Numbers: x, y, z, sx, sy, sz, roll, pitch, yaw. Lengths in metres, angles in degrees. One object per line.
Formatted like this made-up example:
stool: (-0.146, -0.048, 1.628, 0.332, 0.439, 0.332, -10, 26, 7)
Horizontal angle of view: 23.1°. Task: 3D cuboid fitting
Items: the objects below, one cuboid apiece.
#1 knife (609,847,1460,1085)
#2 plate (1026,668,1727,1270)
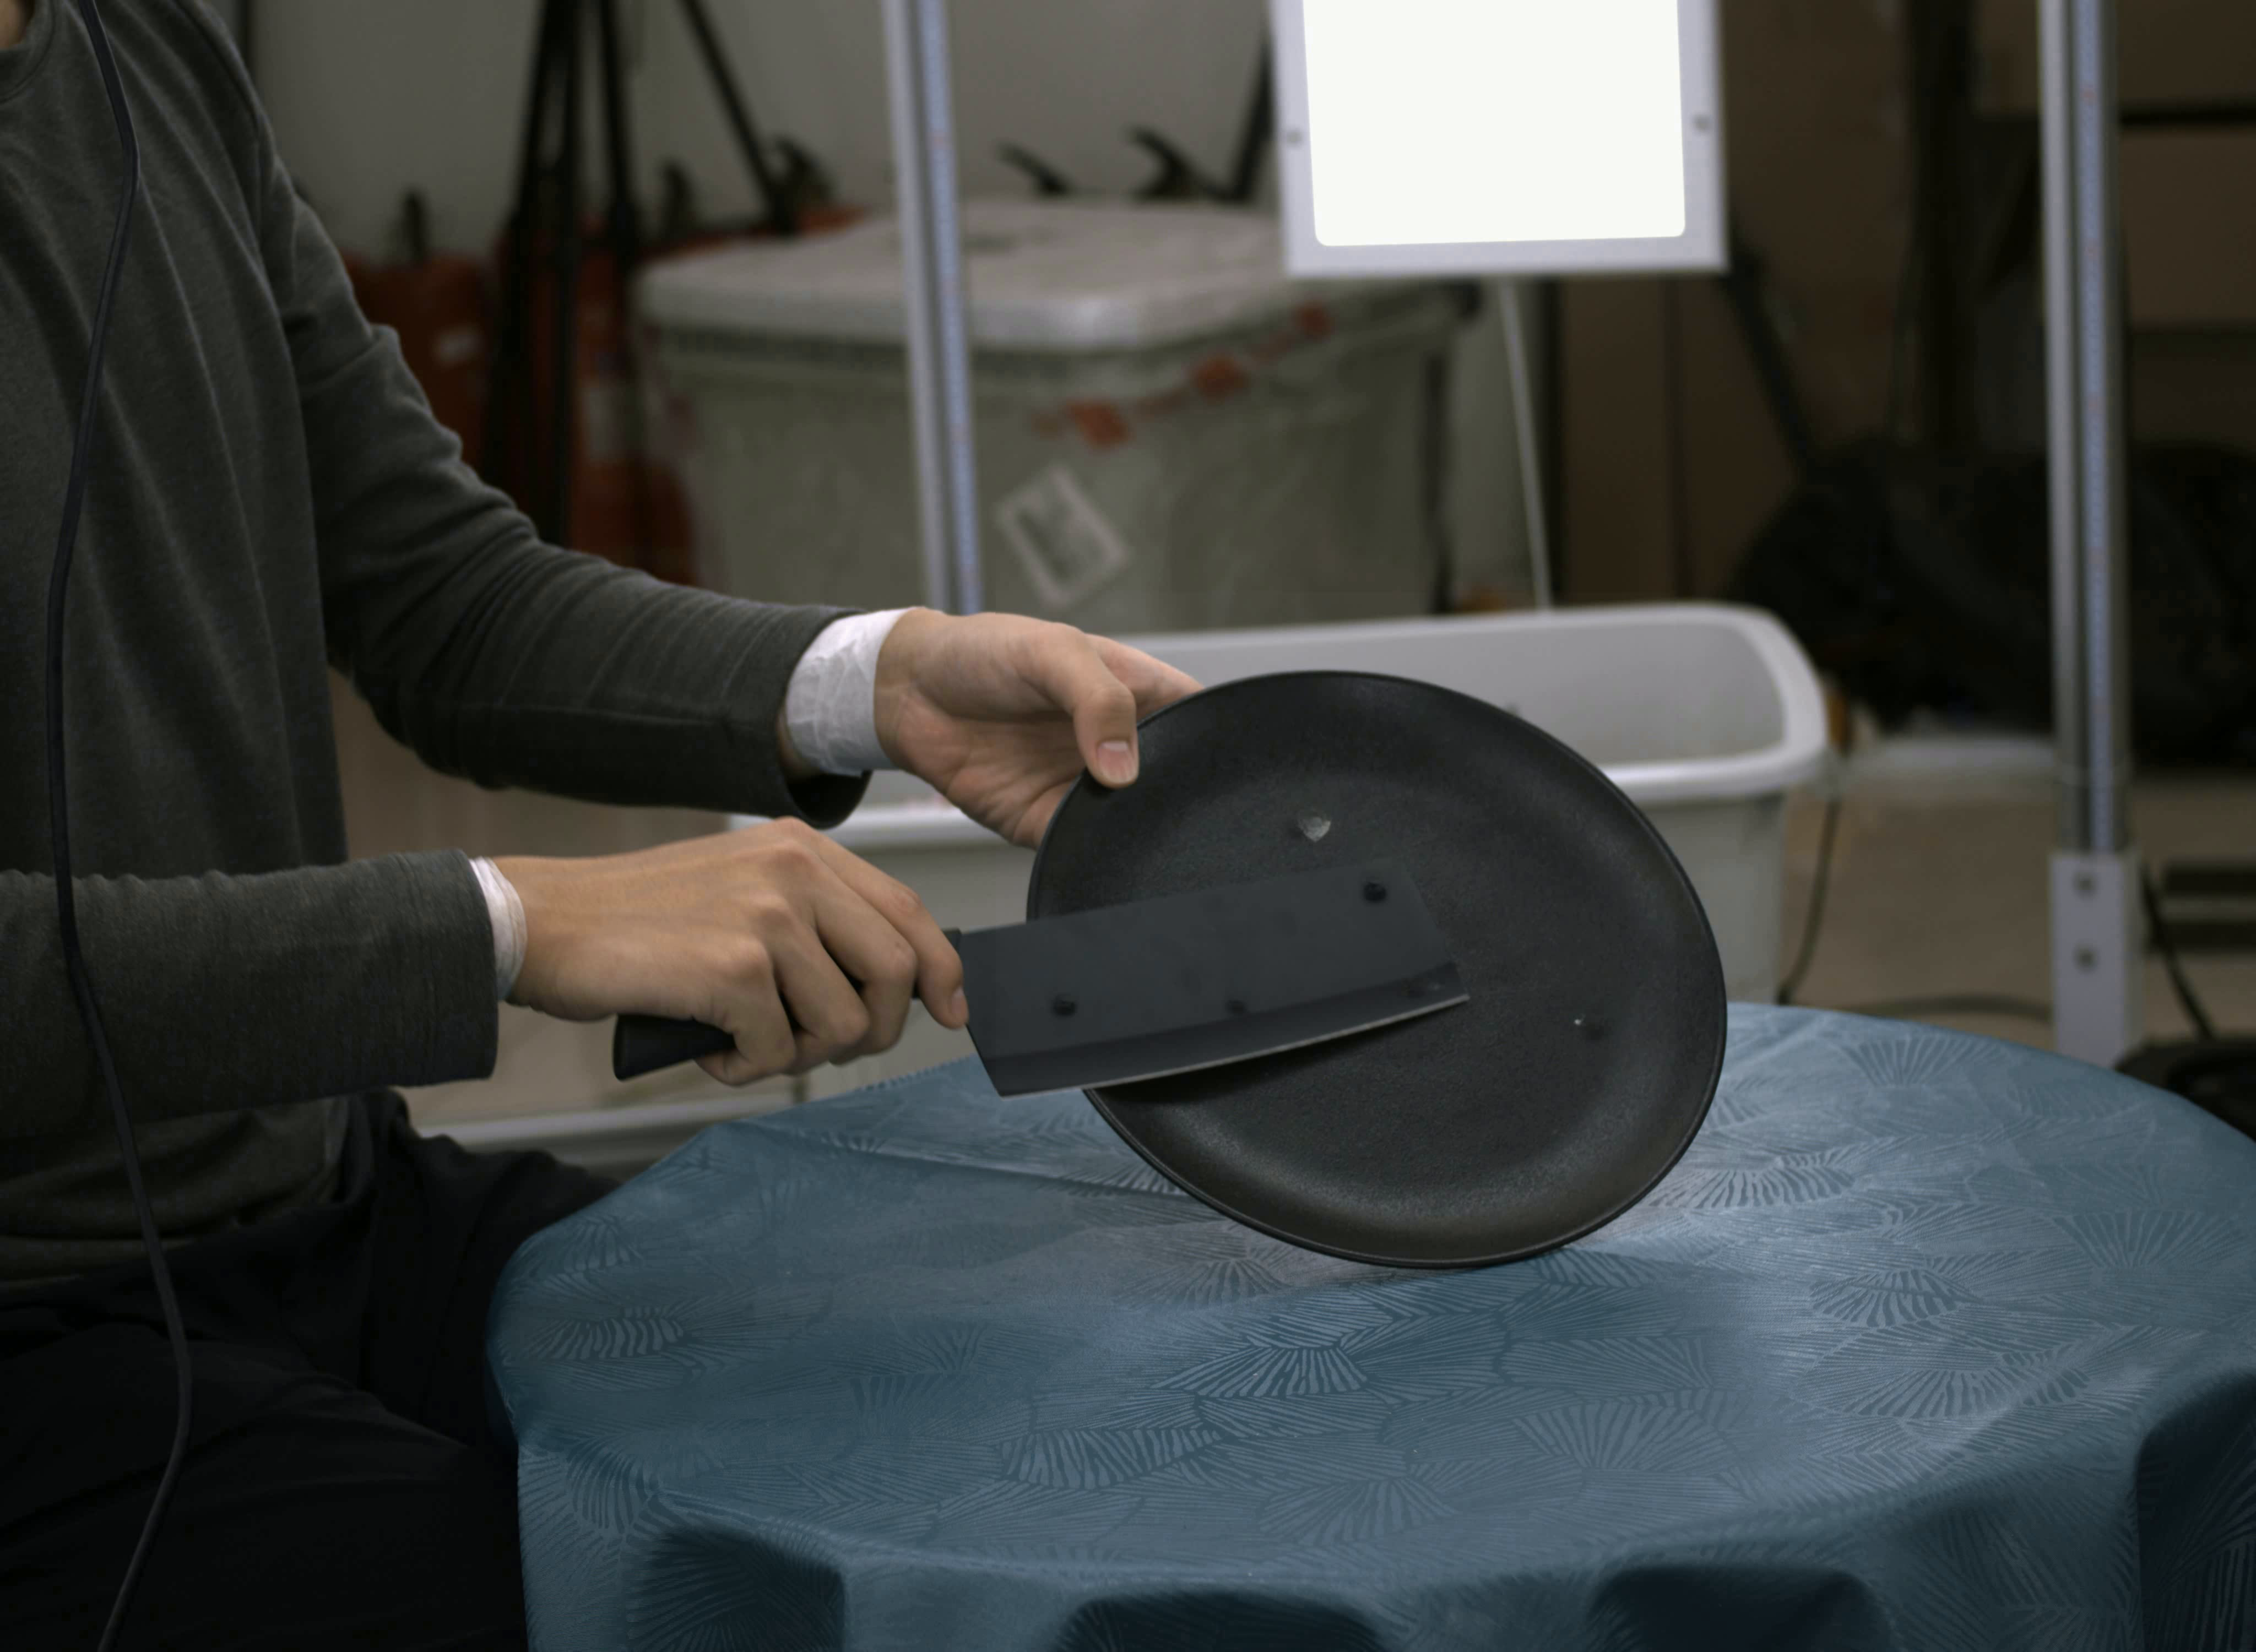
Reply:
knife: (-0.030, 0.053, 1.822, 0.296, 0.021, 0.081, -6, 56, -21)
plate: (0.083, 0.050, 1.860, 0.242, 0.024, 0.244, 5, 54, -8)
